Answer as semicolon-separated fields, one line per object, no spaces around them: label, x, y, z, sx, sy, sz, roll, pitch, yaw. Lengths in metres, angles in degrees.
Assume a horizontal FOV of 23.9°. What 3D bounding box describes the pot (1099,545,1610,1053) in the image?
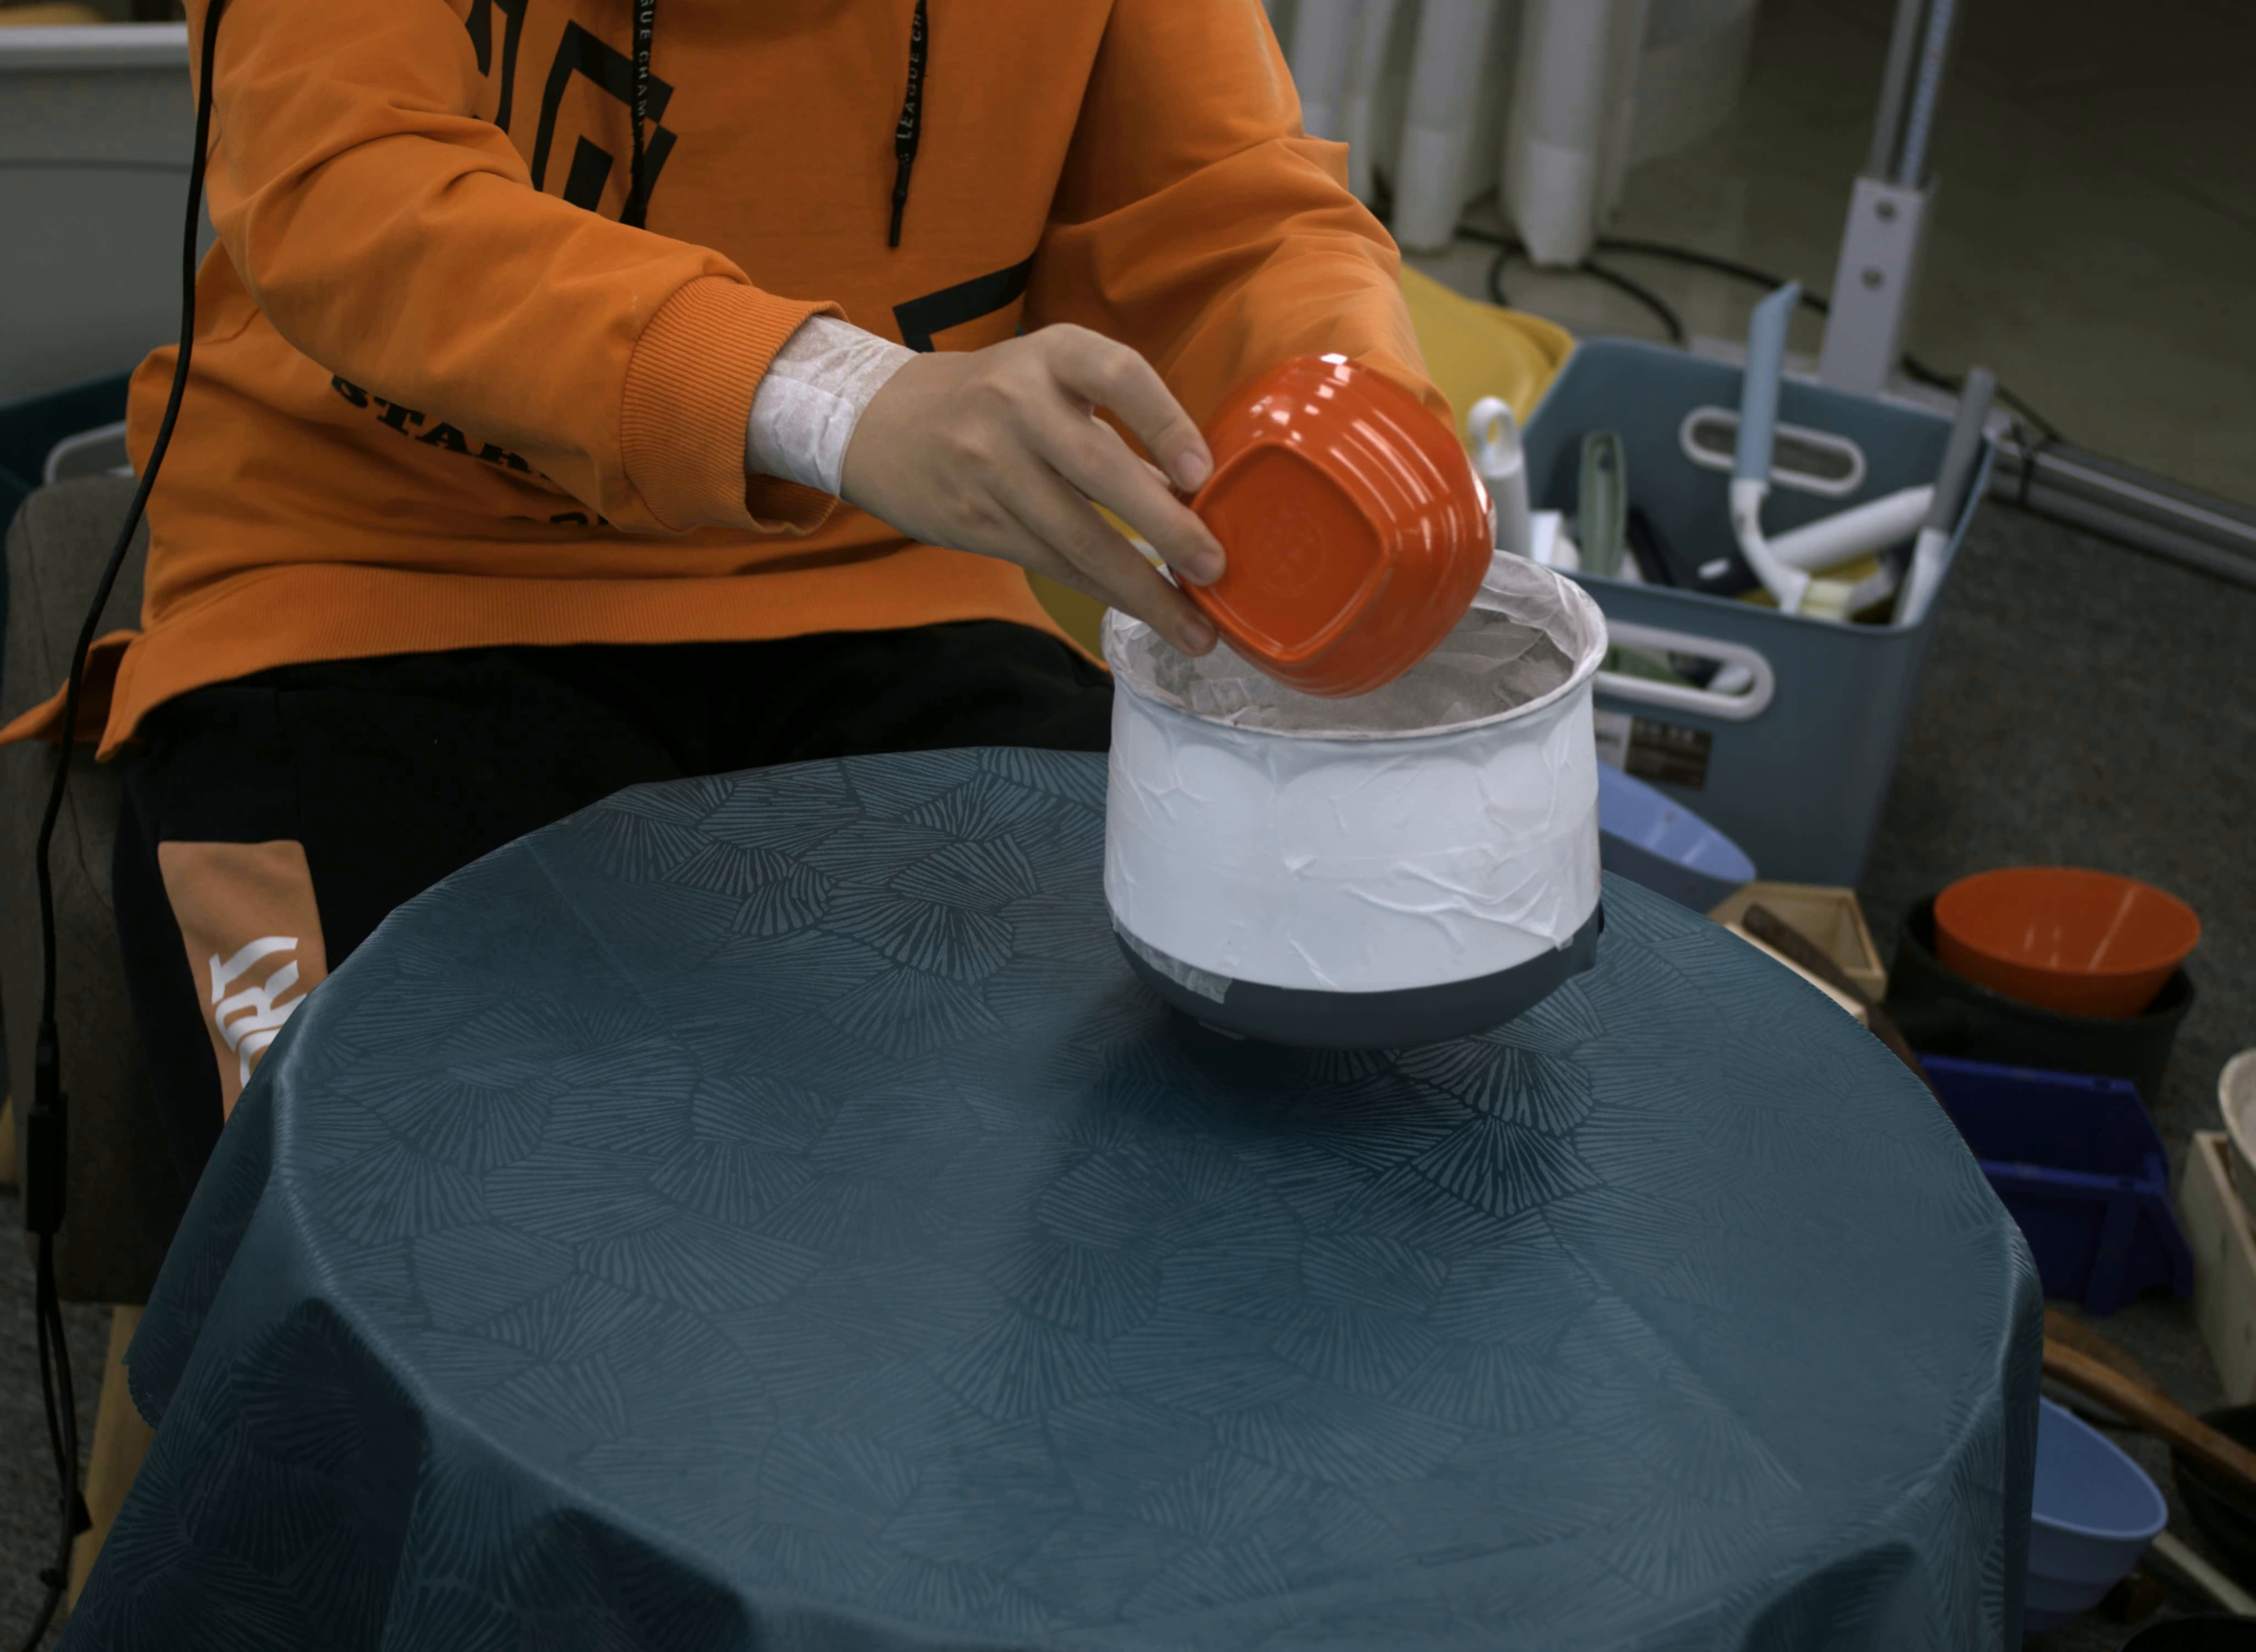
pot;0.077;-0.023;1.896;0.178;0.136;0.235;-2;26;-2

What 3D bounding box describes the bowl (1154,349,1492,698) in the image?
bowl;0.057;-0.097;1.777;0.119;0.119;0.051;17;20;19
